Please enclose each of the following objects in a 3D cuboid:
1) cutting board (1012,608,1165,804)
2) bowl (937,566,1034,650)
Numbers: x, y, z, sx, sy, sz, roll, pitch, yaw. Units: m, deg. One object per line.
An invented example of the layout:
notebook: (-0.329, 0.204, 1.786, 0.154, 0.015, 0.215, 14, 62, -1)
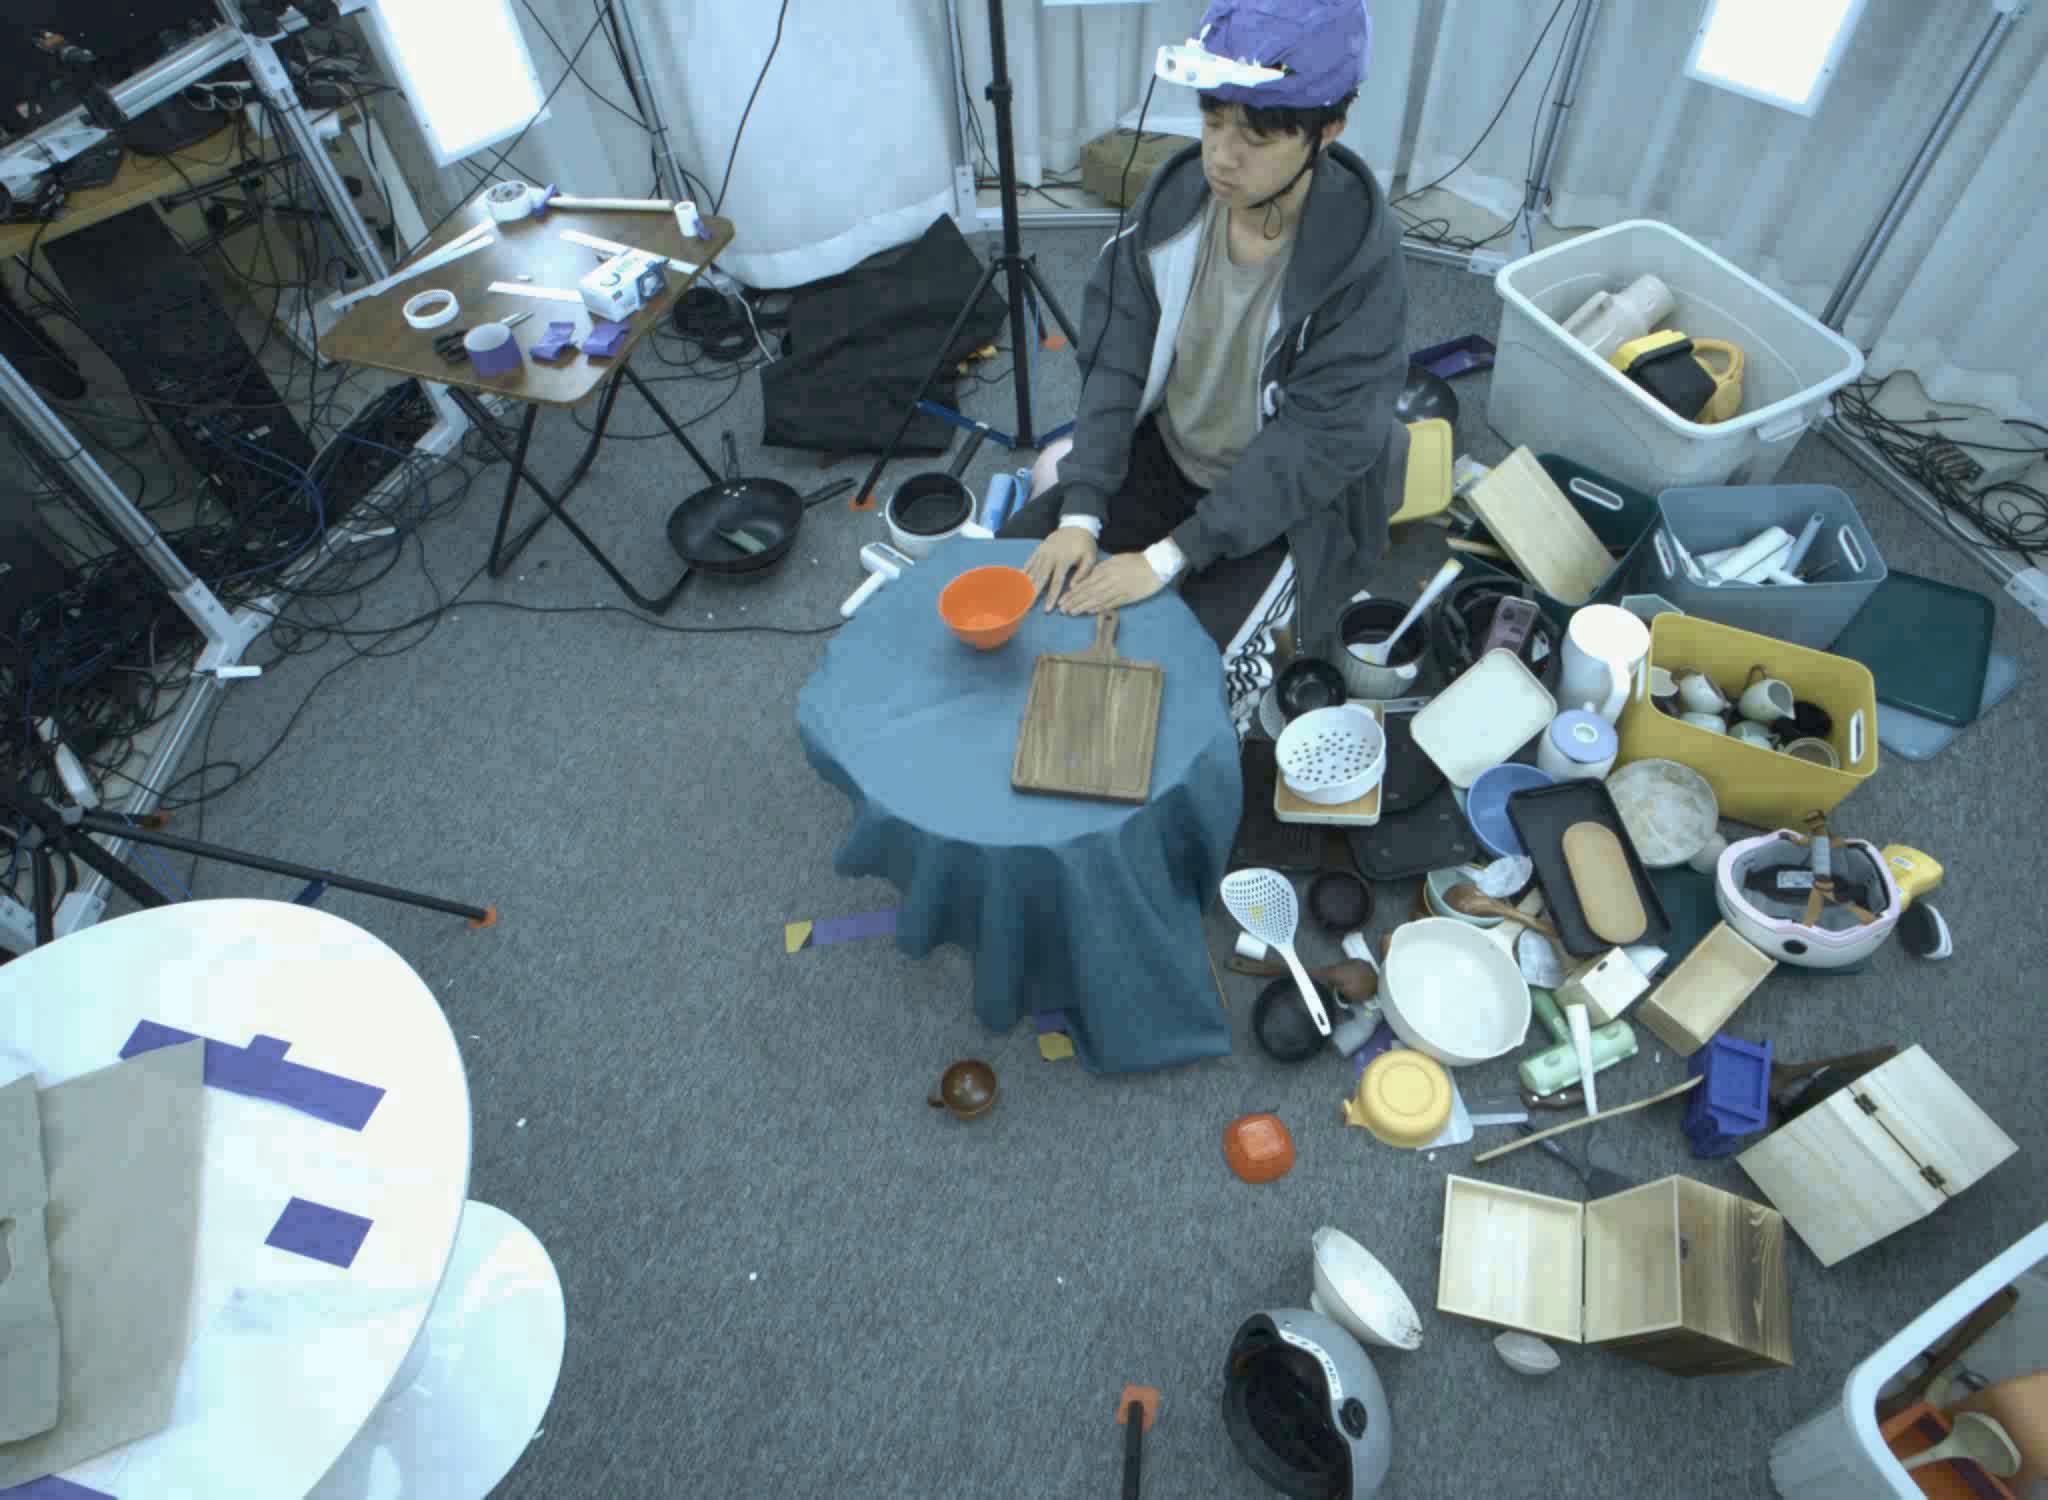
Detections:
cutting board: (0.105, -0.076, 1.828, 0.200, 0.023, 0.350, 6, 55, 6)
bowl: (-0.056, -0.204, 1.875, 0.148, 0.106, 0.146, -1, 55, 2)
